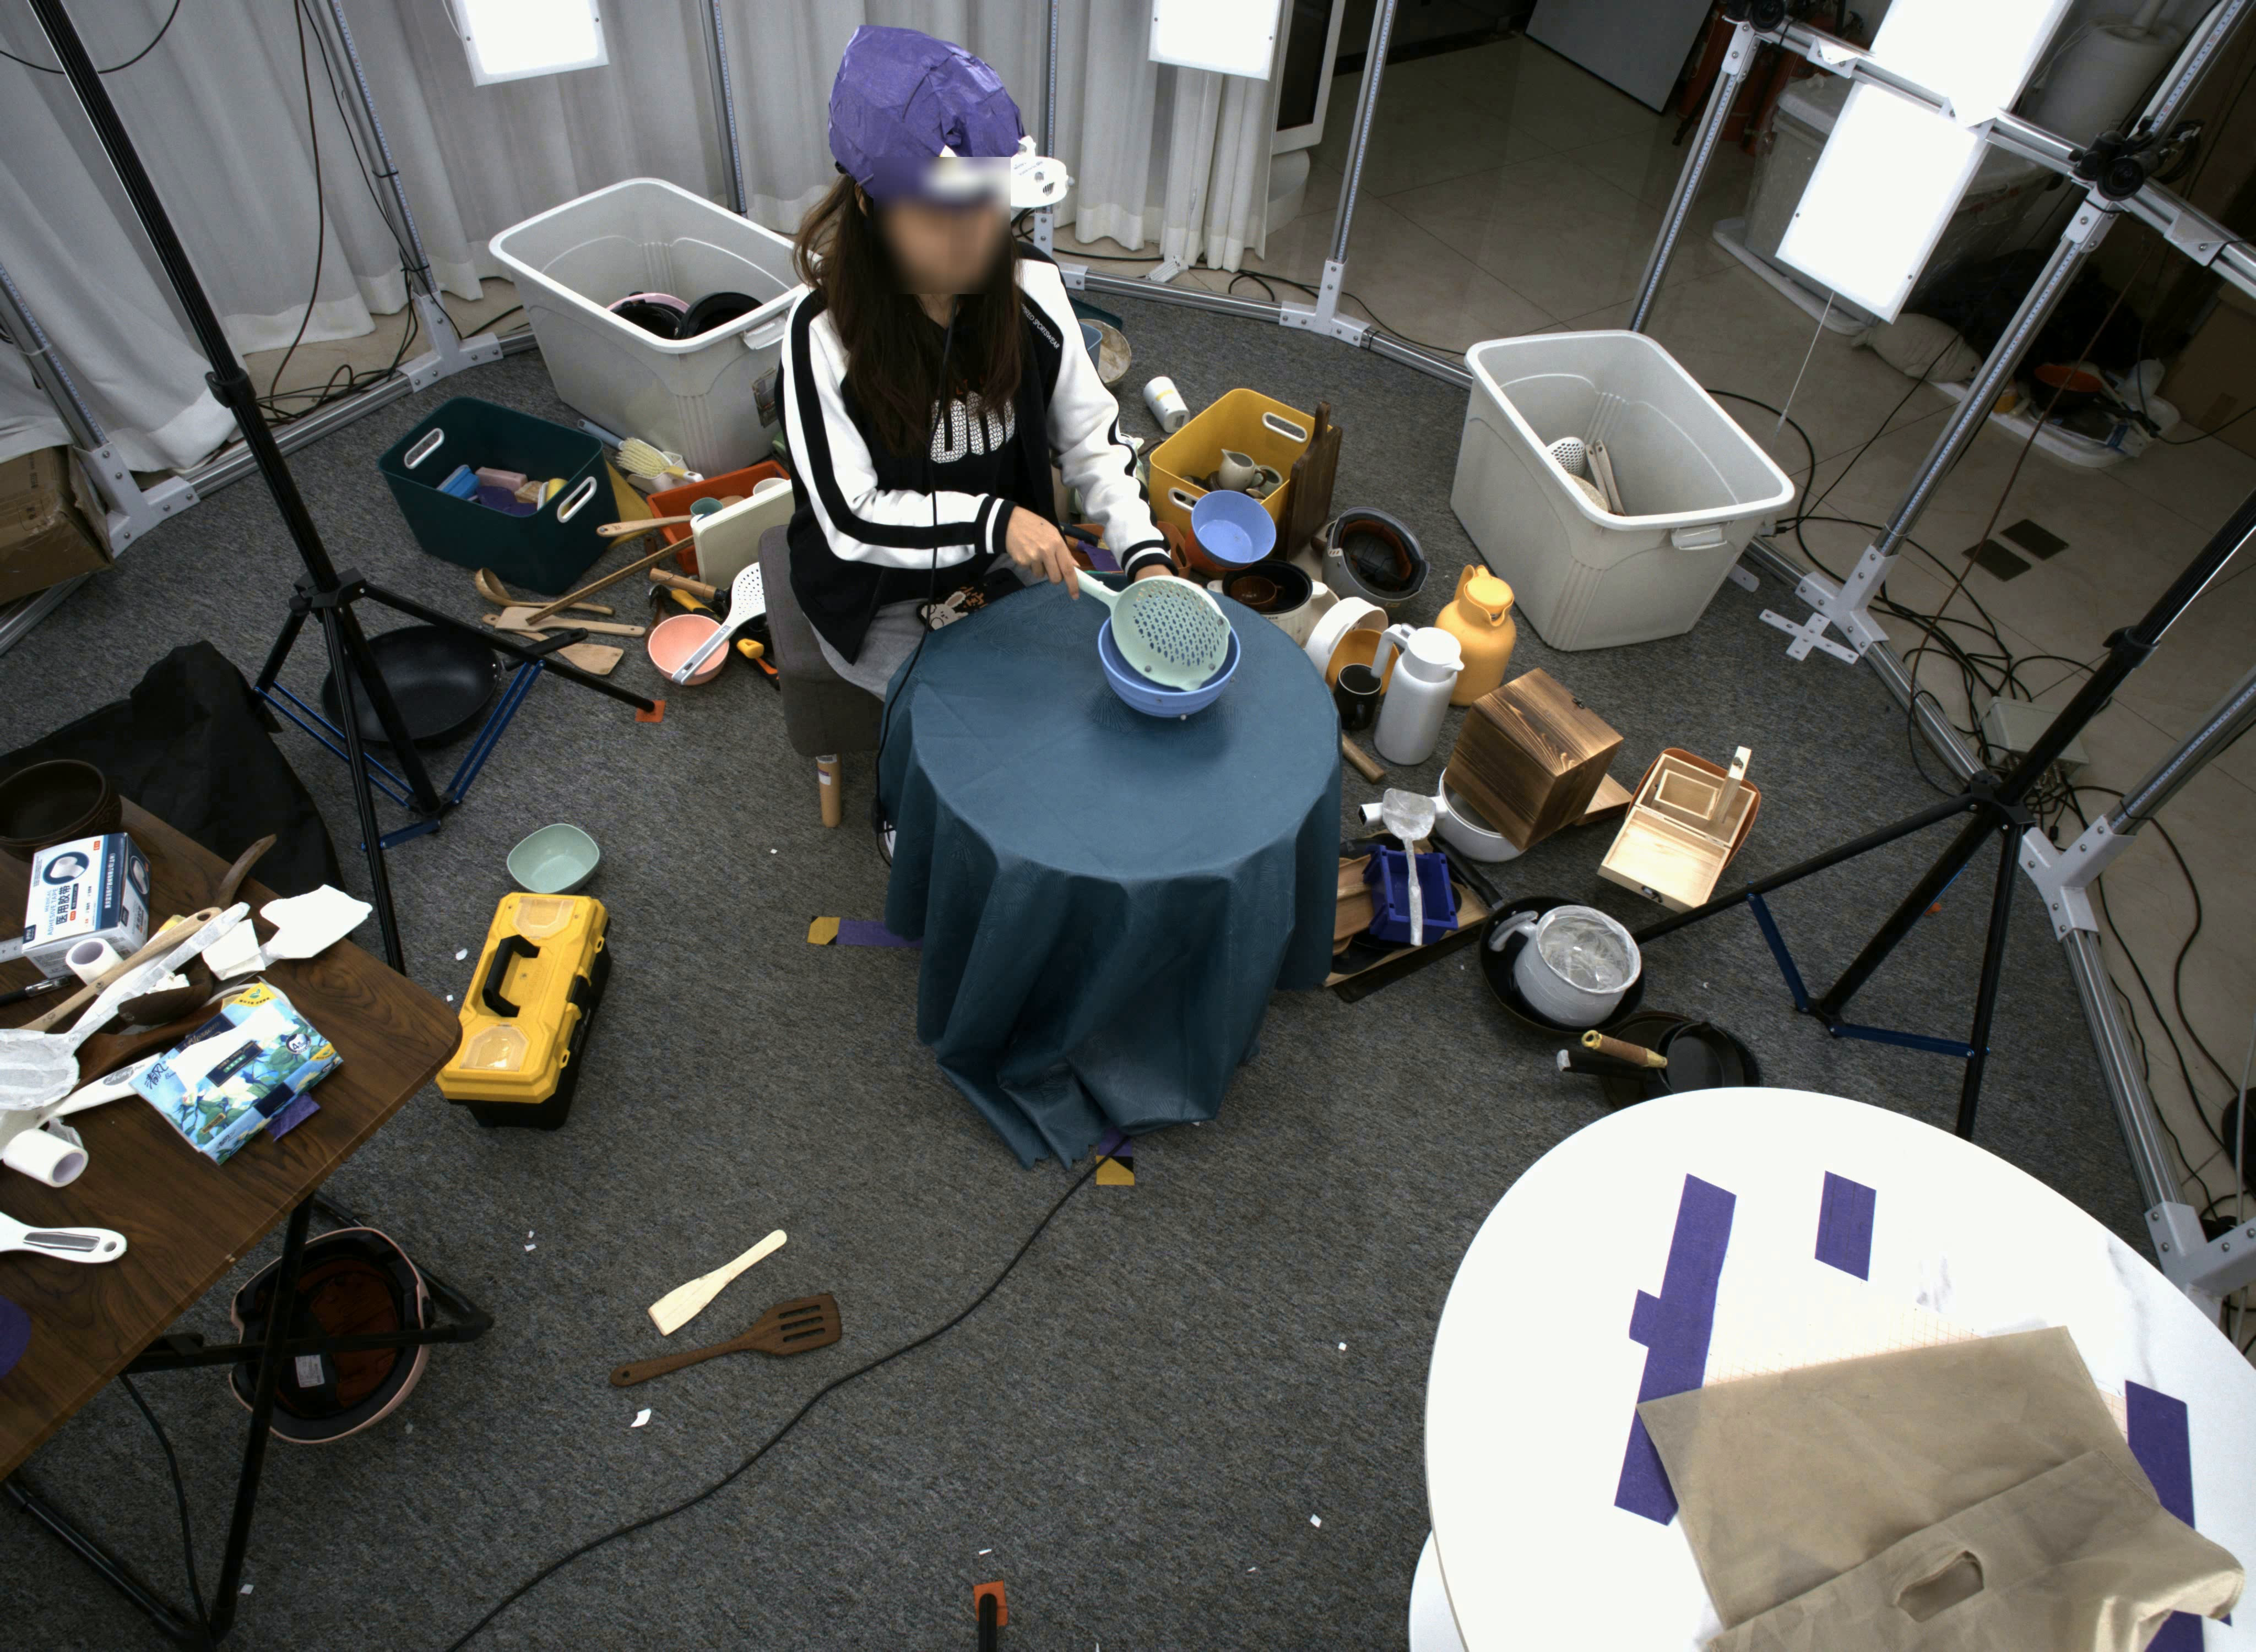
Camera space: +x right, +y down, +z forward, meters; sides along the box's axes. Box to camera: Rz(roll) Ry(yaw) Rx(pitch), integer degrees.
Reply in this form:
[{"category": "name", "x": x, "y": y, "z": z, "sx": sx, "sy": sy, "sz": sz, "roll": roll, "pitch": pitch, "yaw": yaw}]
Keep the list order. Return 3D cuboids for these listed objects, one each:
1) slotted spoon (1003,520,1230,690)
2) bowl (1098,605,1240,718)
[{"category": "slotted spoon", "x": -0.022, "y": -0.323, "z": 1.783, "sx": 0.358, "sy": 0.166, "sz": 0.077, "roll": 26, "pitch": 43, "yaw": -1}, {"category": "bowl", "x": 0.054, "y": -0.220, "z": 1.803, "sx": 0.196, "sy": 0.093, "sz": 0.201, "roll": 2, "pitch": 49, "yaw": -2}]
